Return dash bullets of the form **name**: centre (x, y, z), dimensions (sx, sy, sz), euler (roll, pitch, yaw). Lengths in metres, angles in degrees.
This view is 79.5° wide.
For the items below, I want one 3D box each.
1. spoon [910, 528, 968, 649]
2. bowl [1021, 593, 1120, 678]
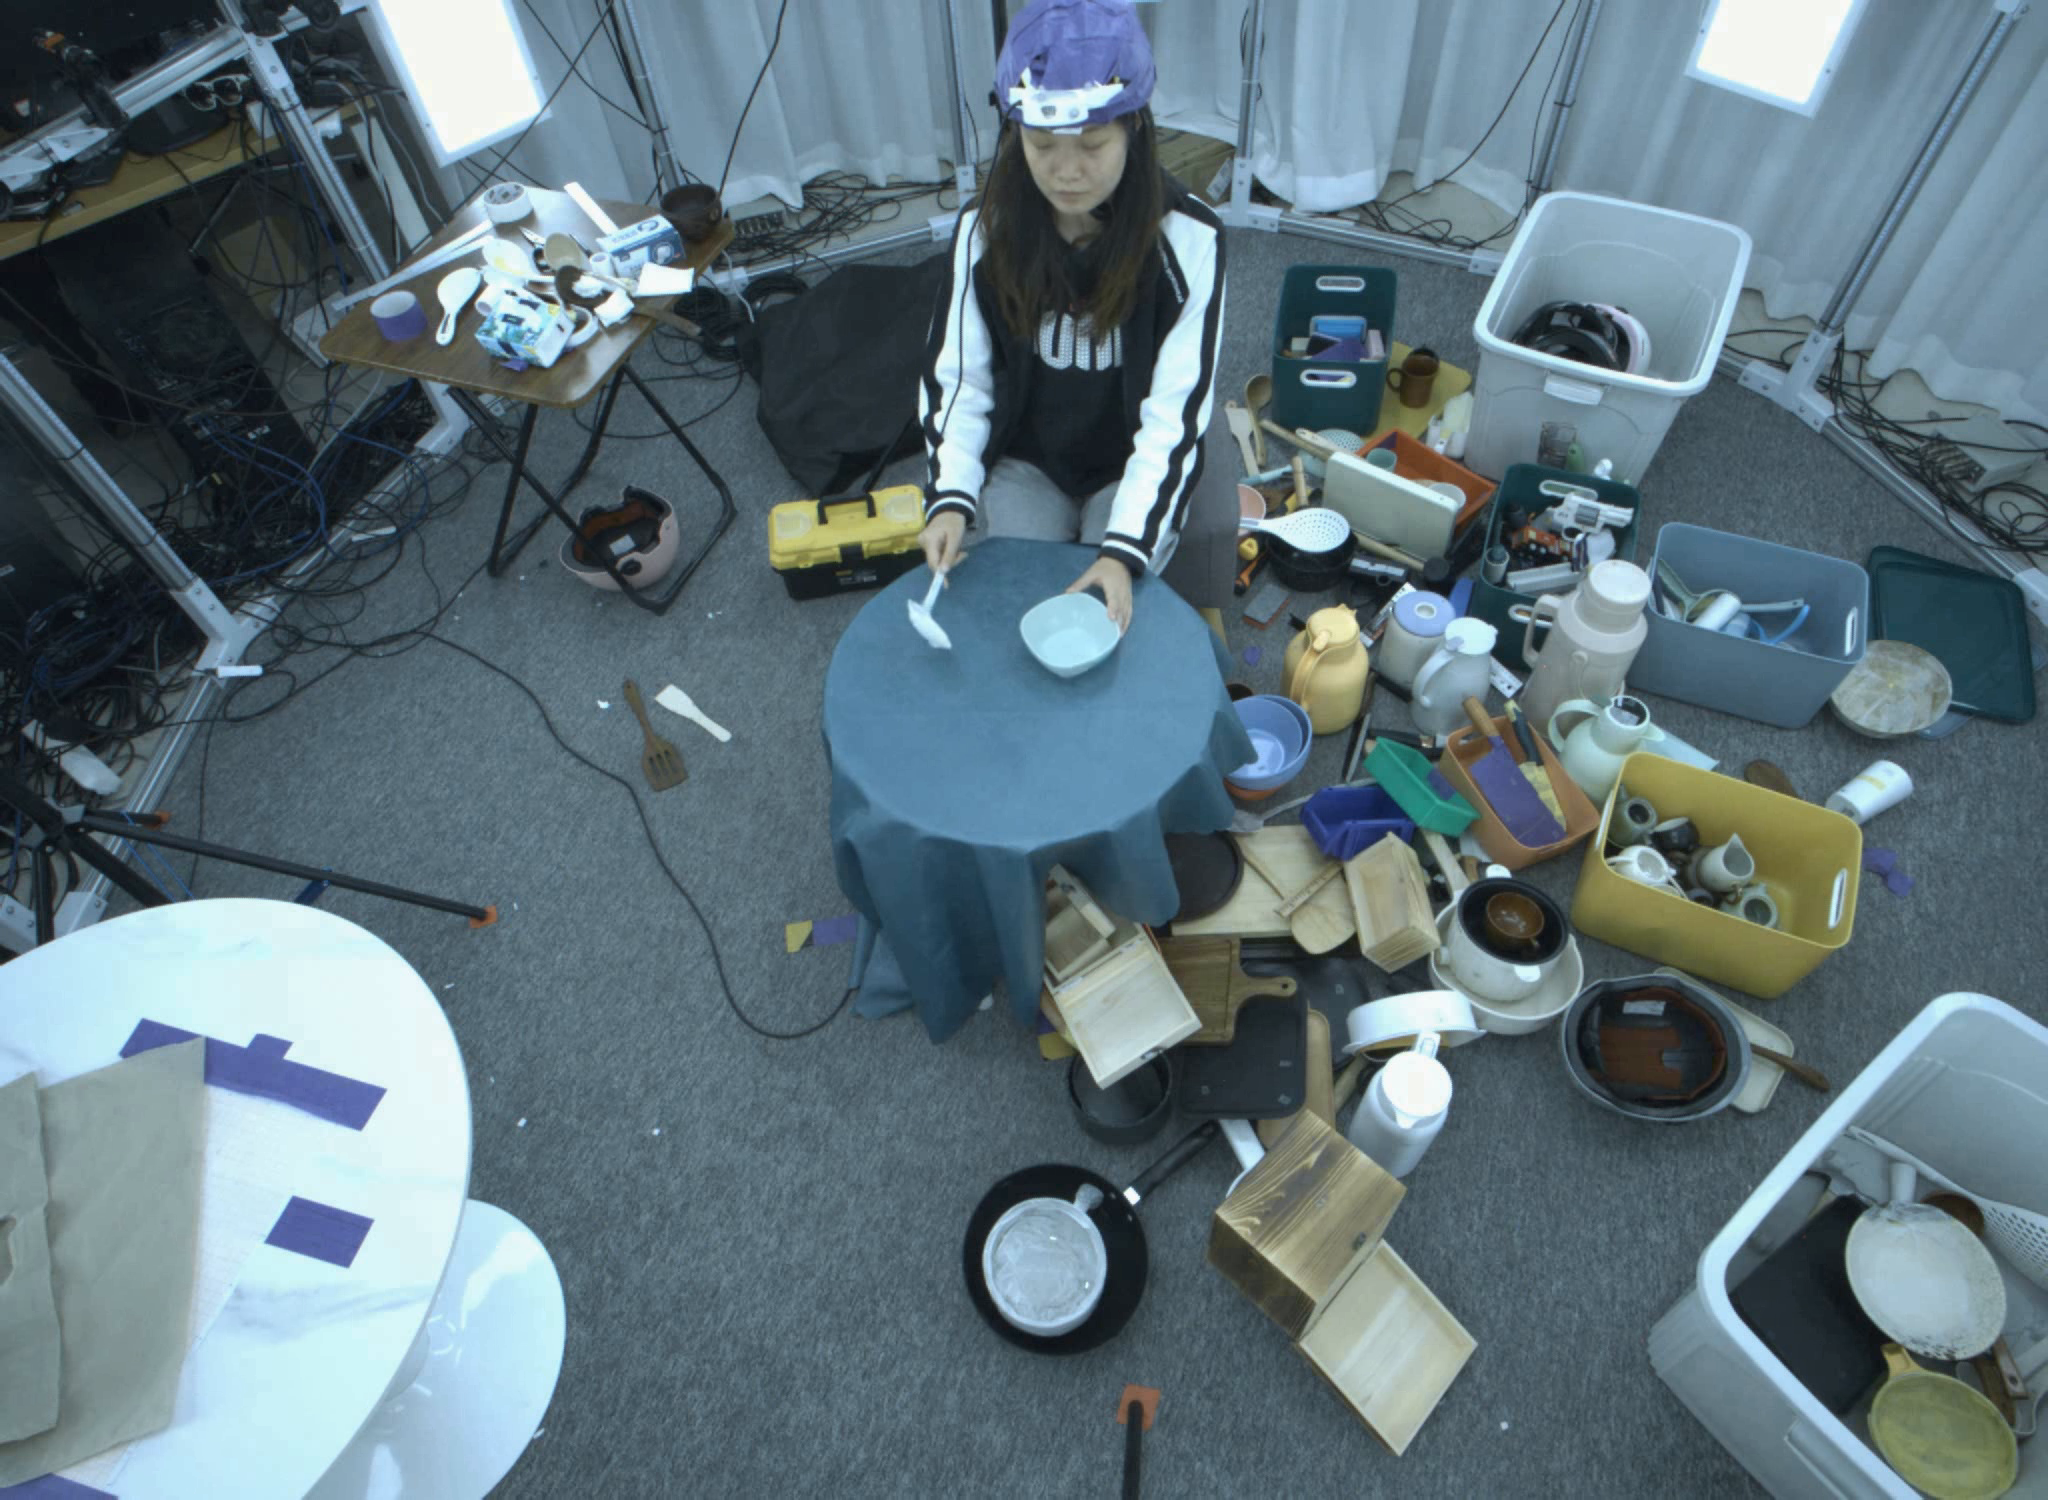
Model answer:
- **spoon**: centre (-0.111, -0.258, 1.881), dimensions (0.058, 0.103, 0.276), euler (-12, 41, 34)
- **bowl**: centre (0.071, -0.165, 1.870), dimensions (0.151, 0.059, 0.150), euler (0, 55, 2)
